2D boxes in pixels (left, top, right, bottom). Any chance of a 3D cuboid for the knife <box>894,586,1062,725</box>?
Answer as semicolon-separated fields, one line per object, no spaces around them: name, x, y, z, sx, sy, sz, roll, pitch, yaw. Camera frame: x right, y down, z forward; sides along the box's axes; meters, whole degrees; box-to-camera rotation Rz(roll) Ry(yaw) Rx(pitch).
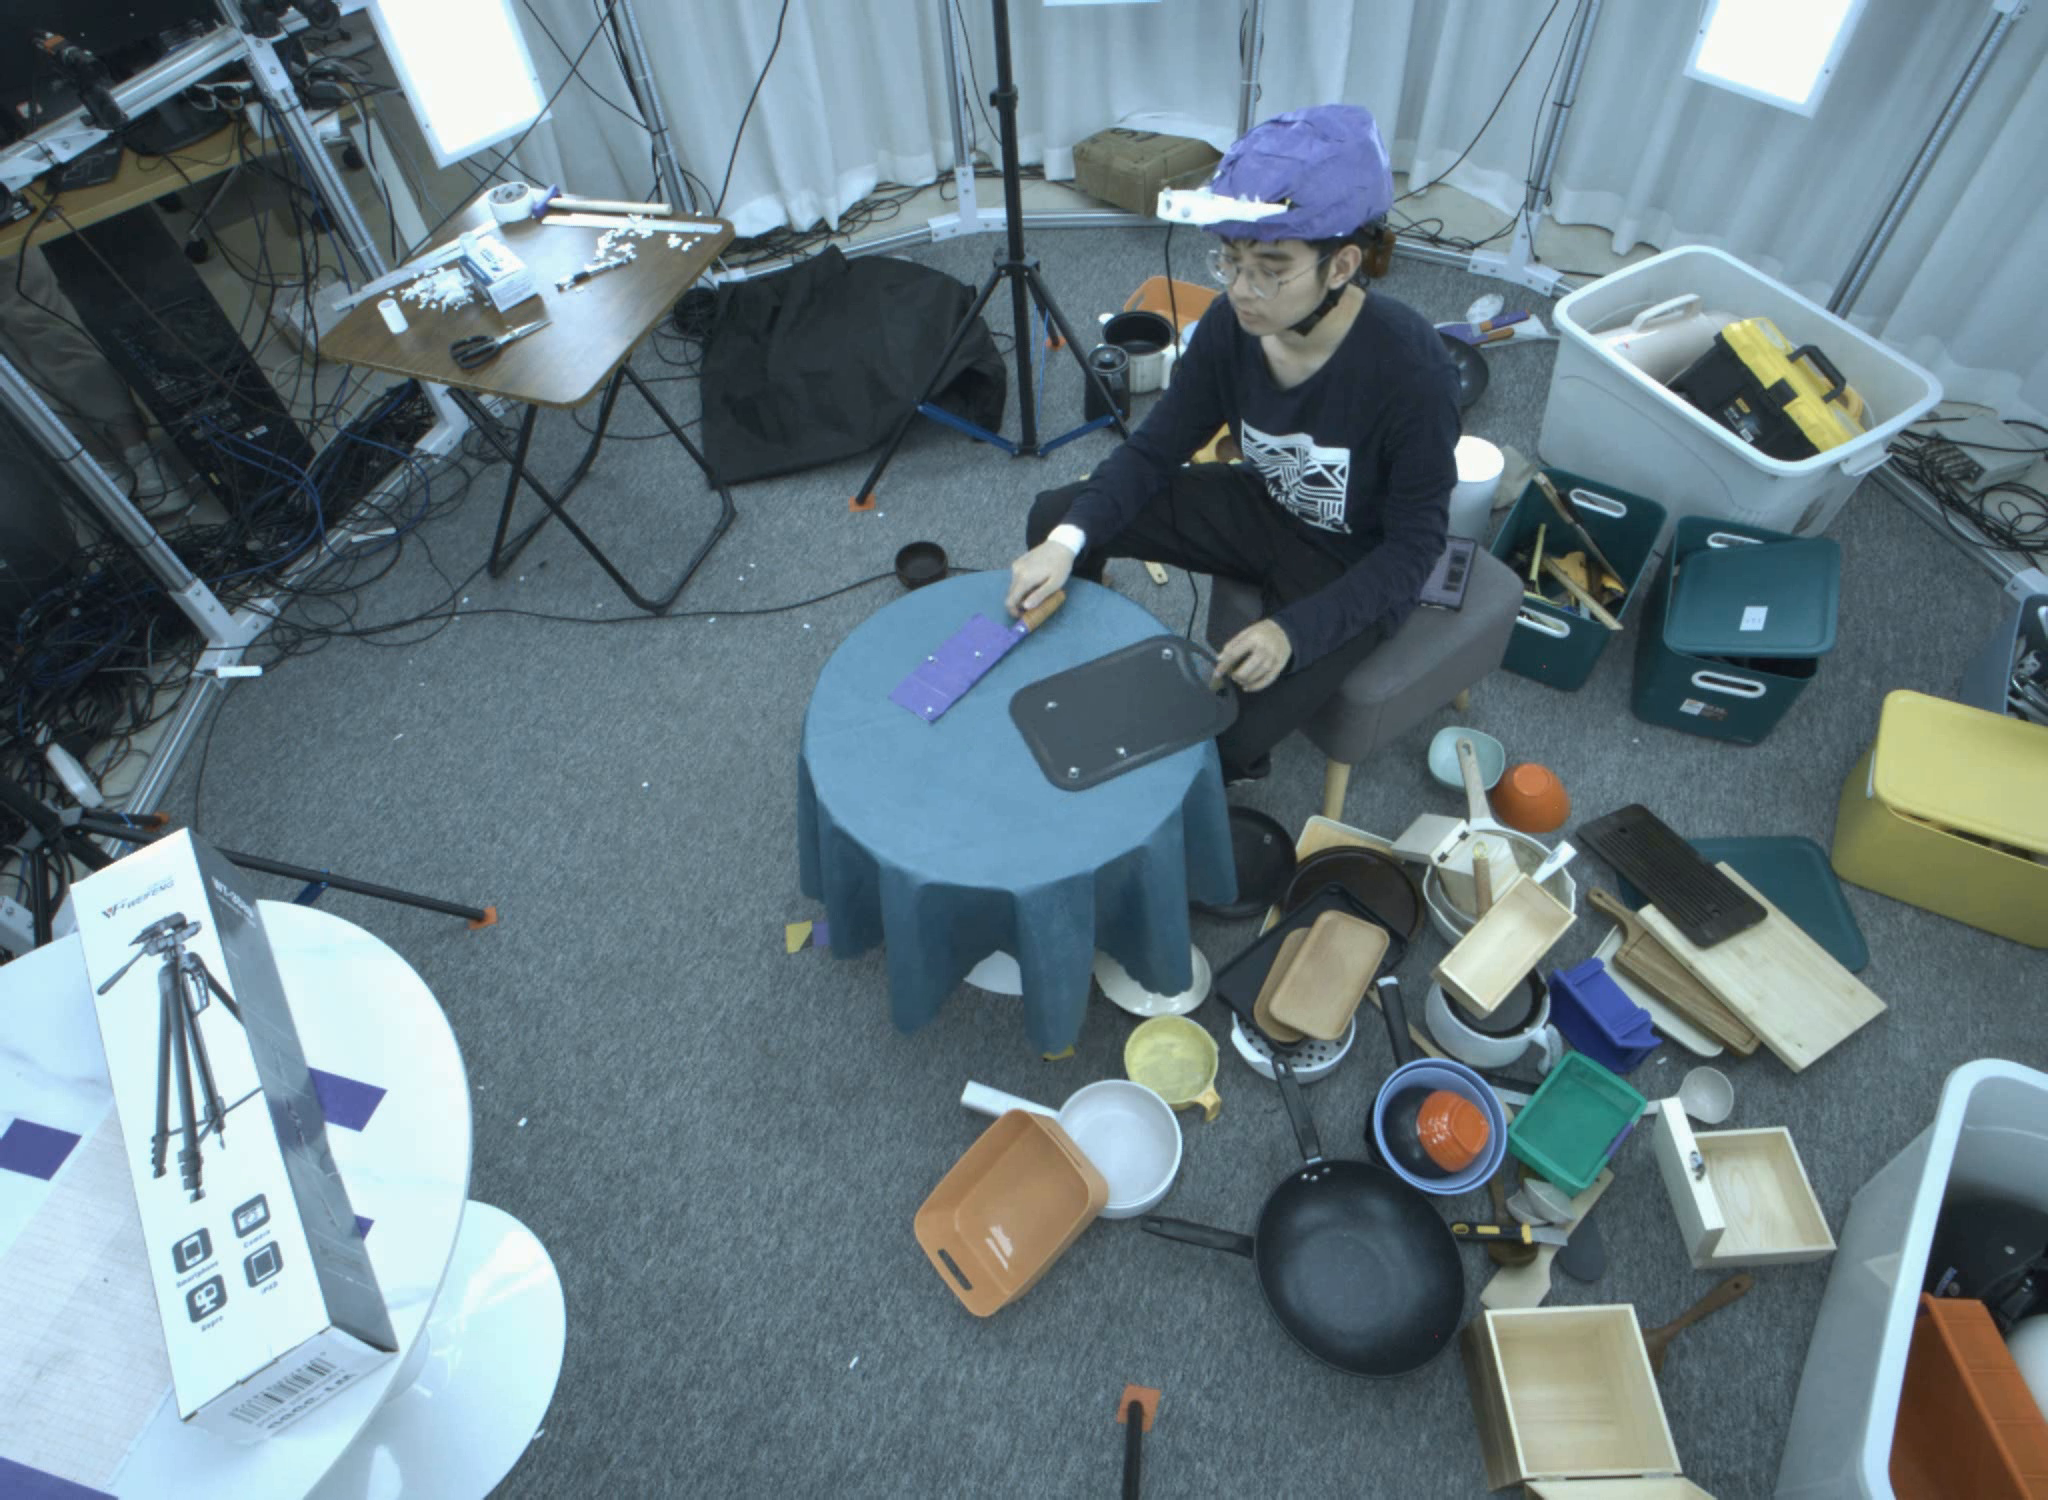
knife;-0.073;-0.164;1.898;0.102;0.032;0.317;33;62;23

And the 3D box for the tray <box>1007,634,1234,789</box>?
tray;0.149;-0.067;1.836;0.328;0.010;0.207;-22;57;-14
